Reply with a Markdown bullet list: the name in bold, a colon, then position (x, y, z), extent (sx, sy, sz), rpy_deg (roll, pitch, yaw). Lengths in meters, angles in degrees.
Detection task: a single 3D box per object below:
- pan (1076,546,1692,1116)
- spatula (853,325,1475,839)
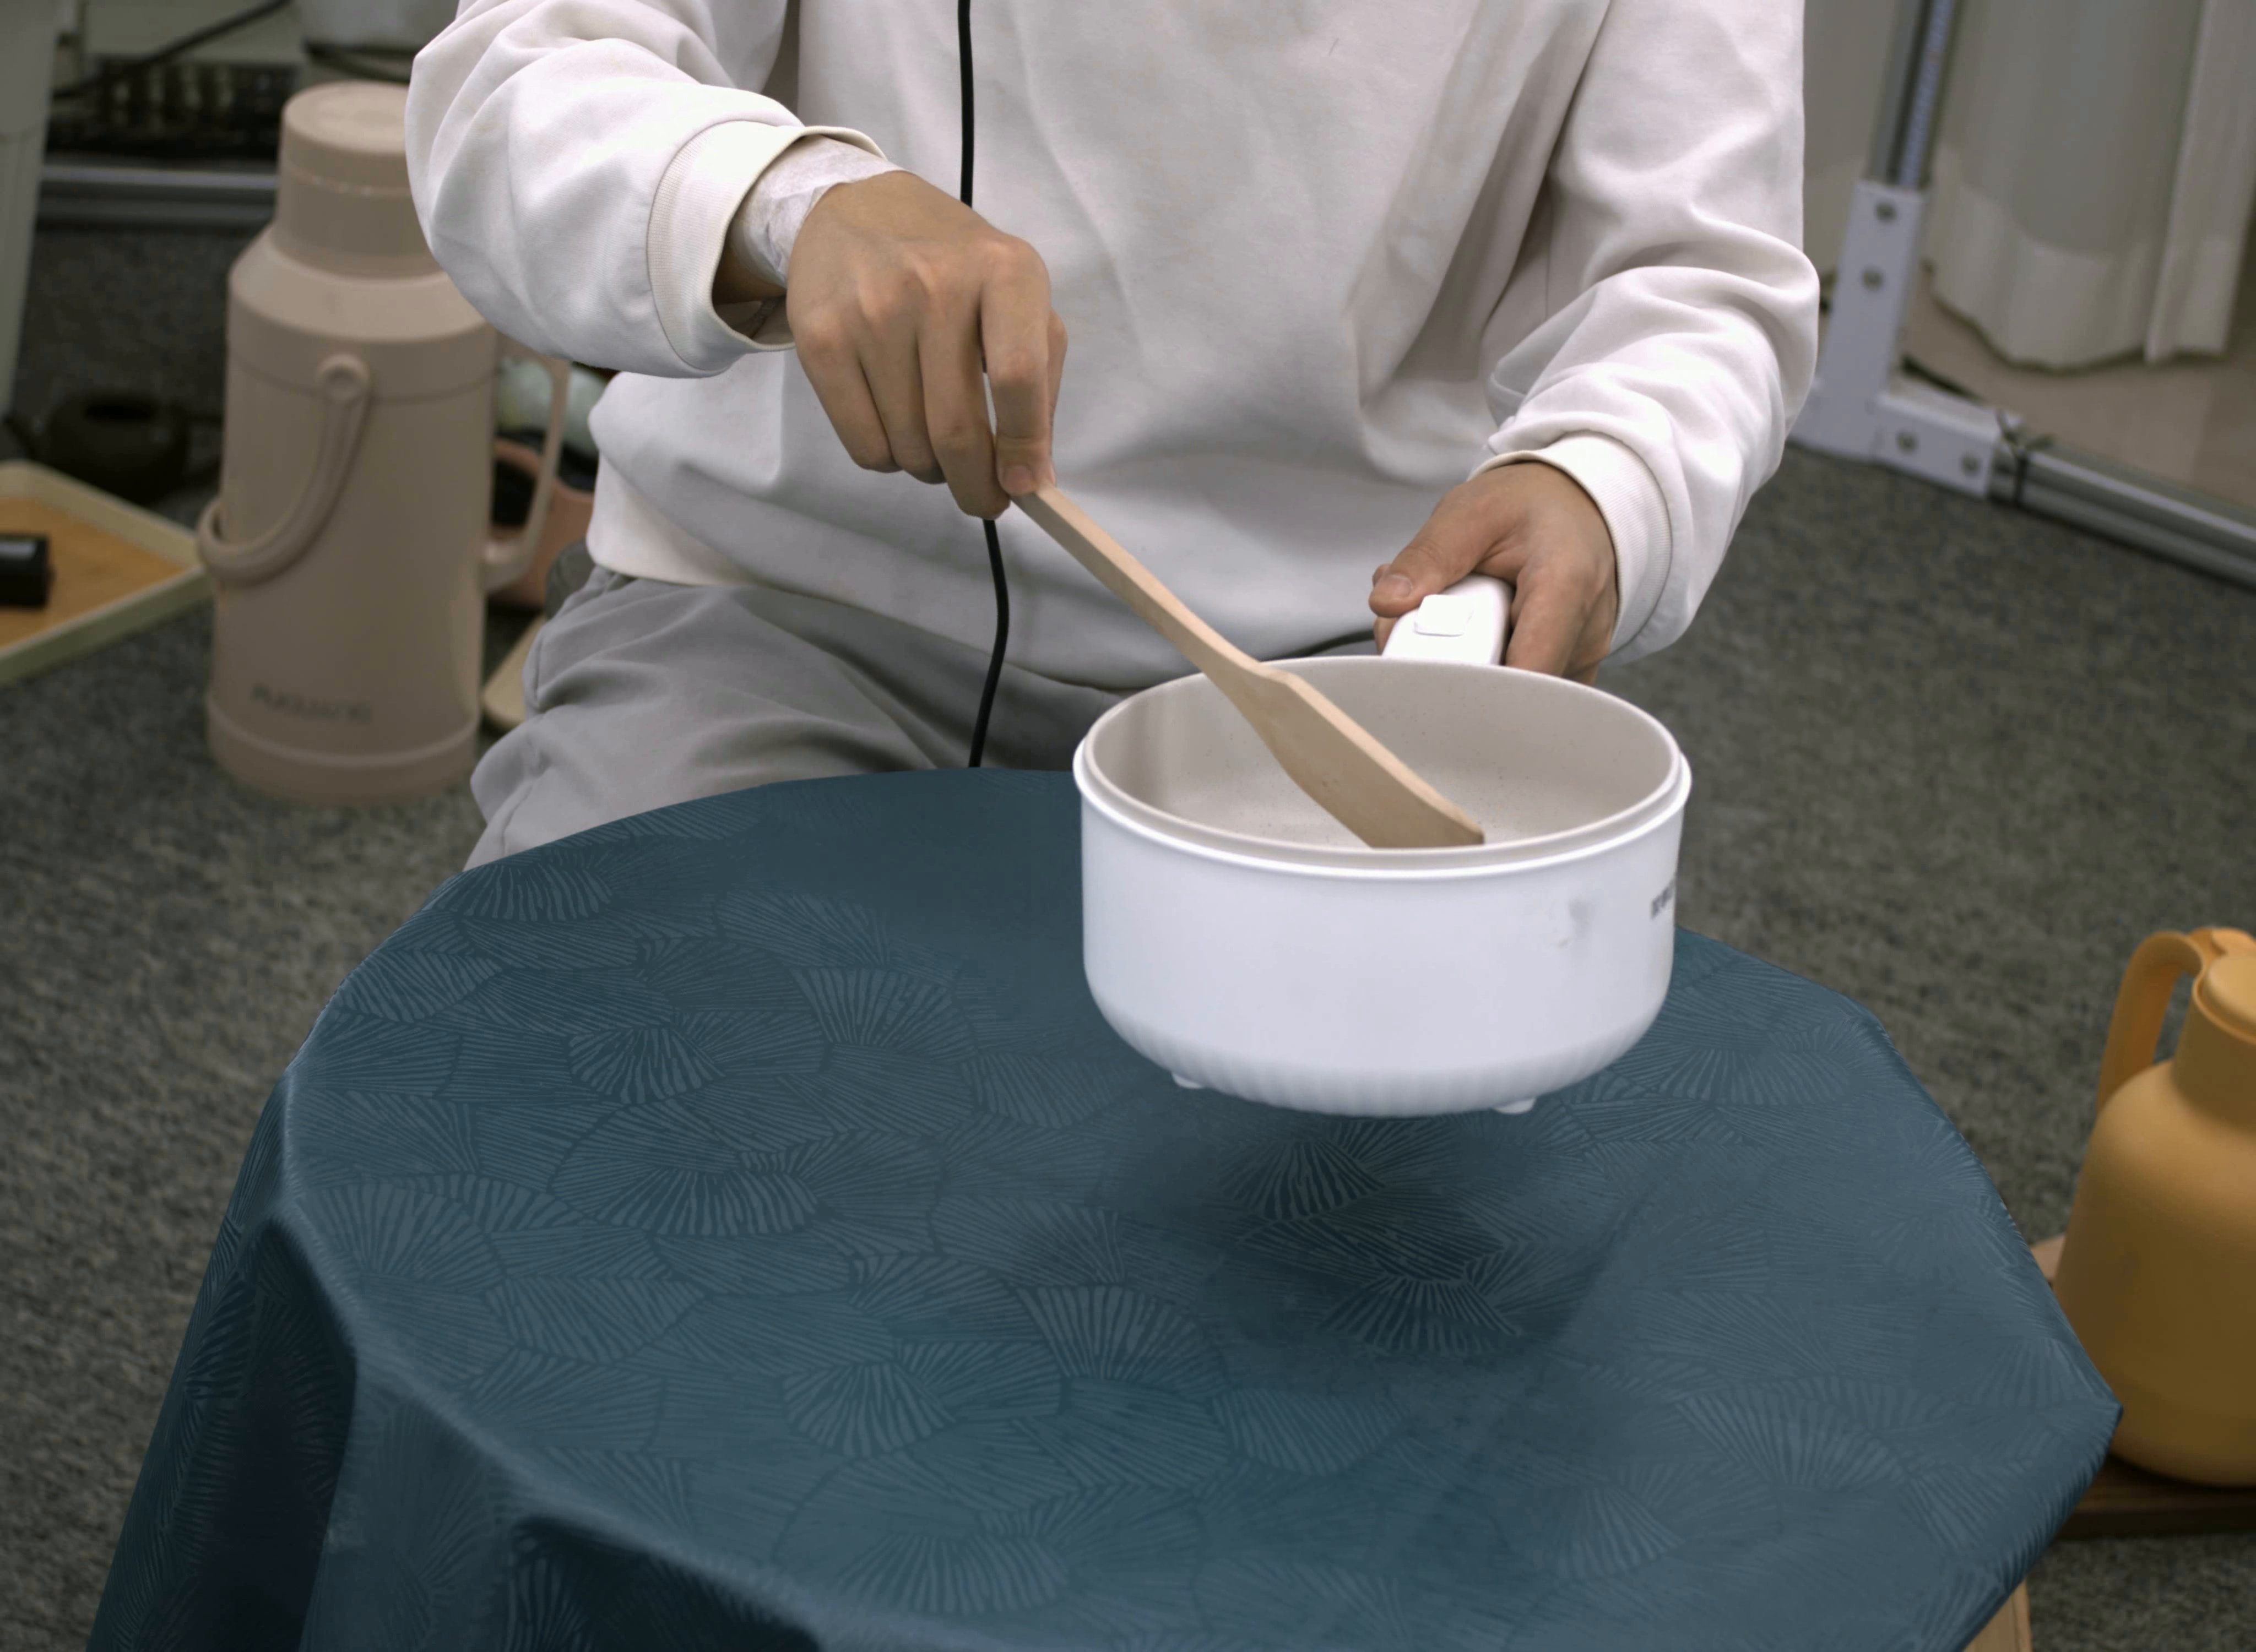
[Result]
- **pan**: position (0.097, -0.002, 1.820), extent (0.201, 0.102, 0.355), rpy_deg (3, 19, 10)
- **spatula**: position (0.009, -0.076, 1.780), extent (0.010, 0.072, 0.295), rpy_deg (-43, 69, -14)
